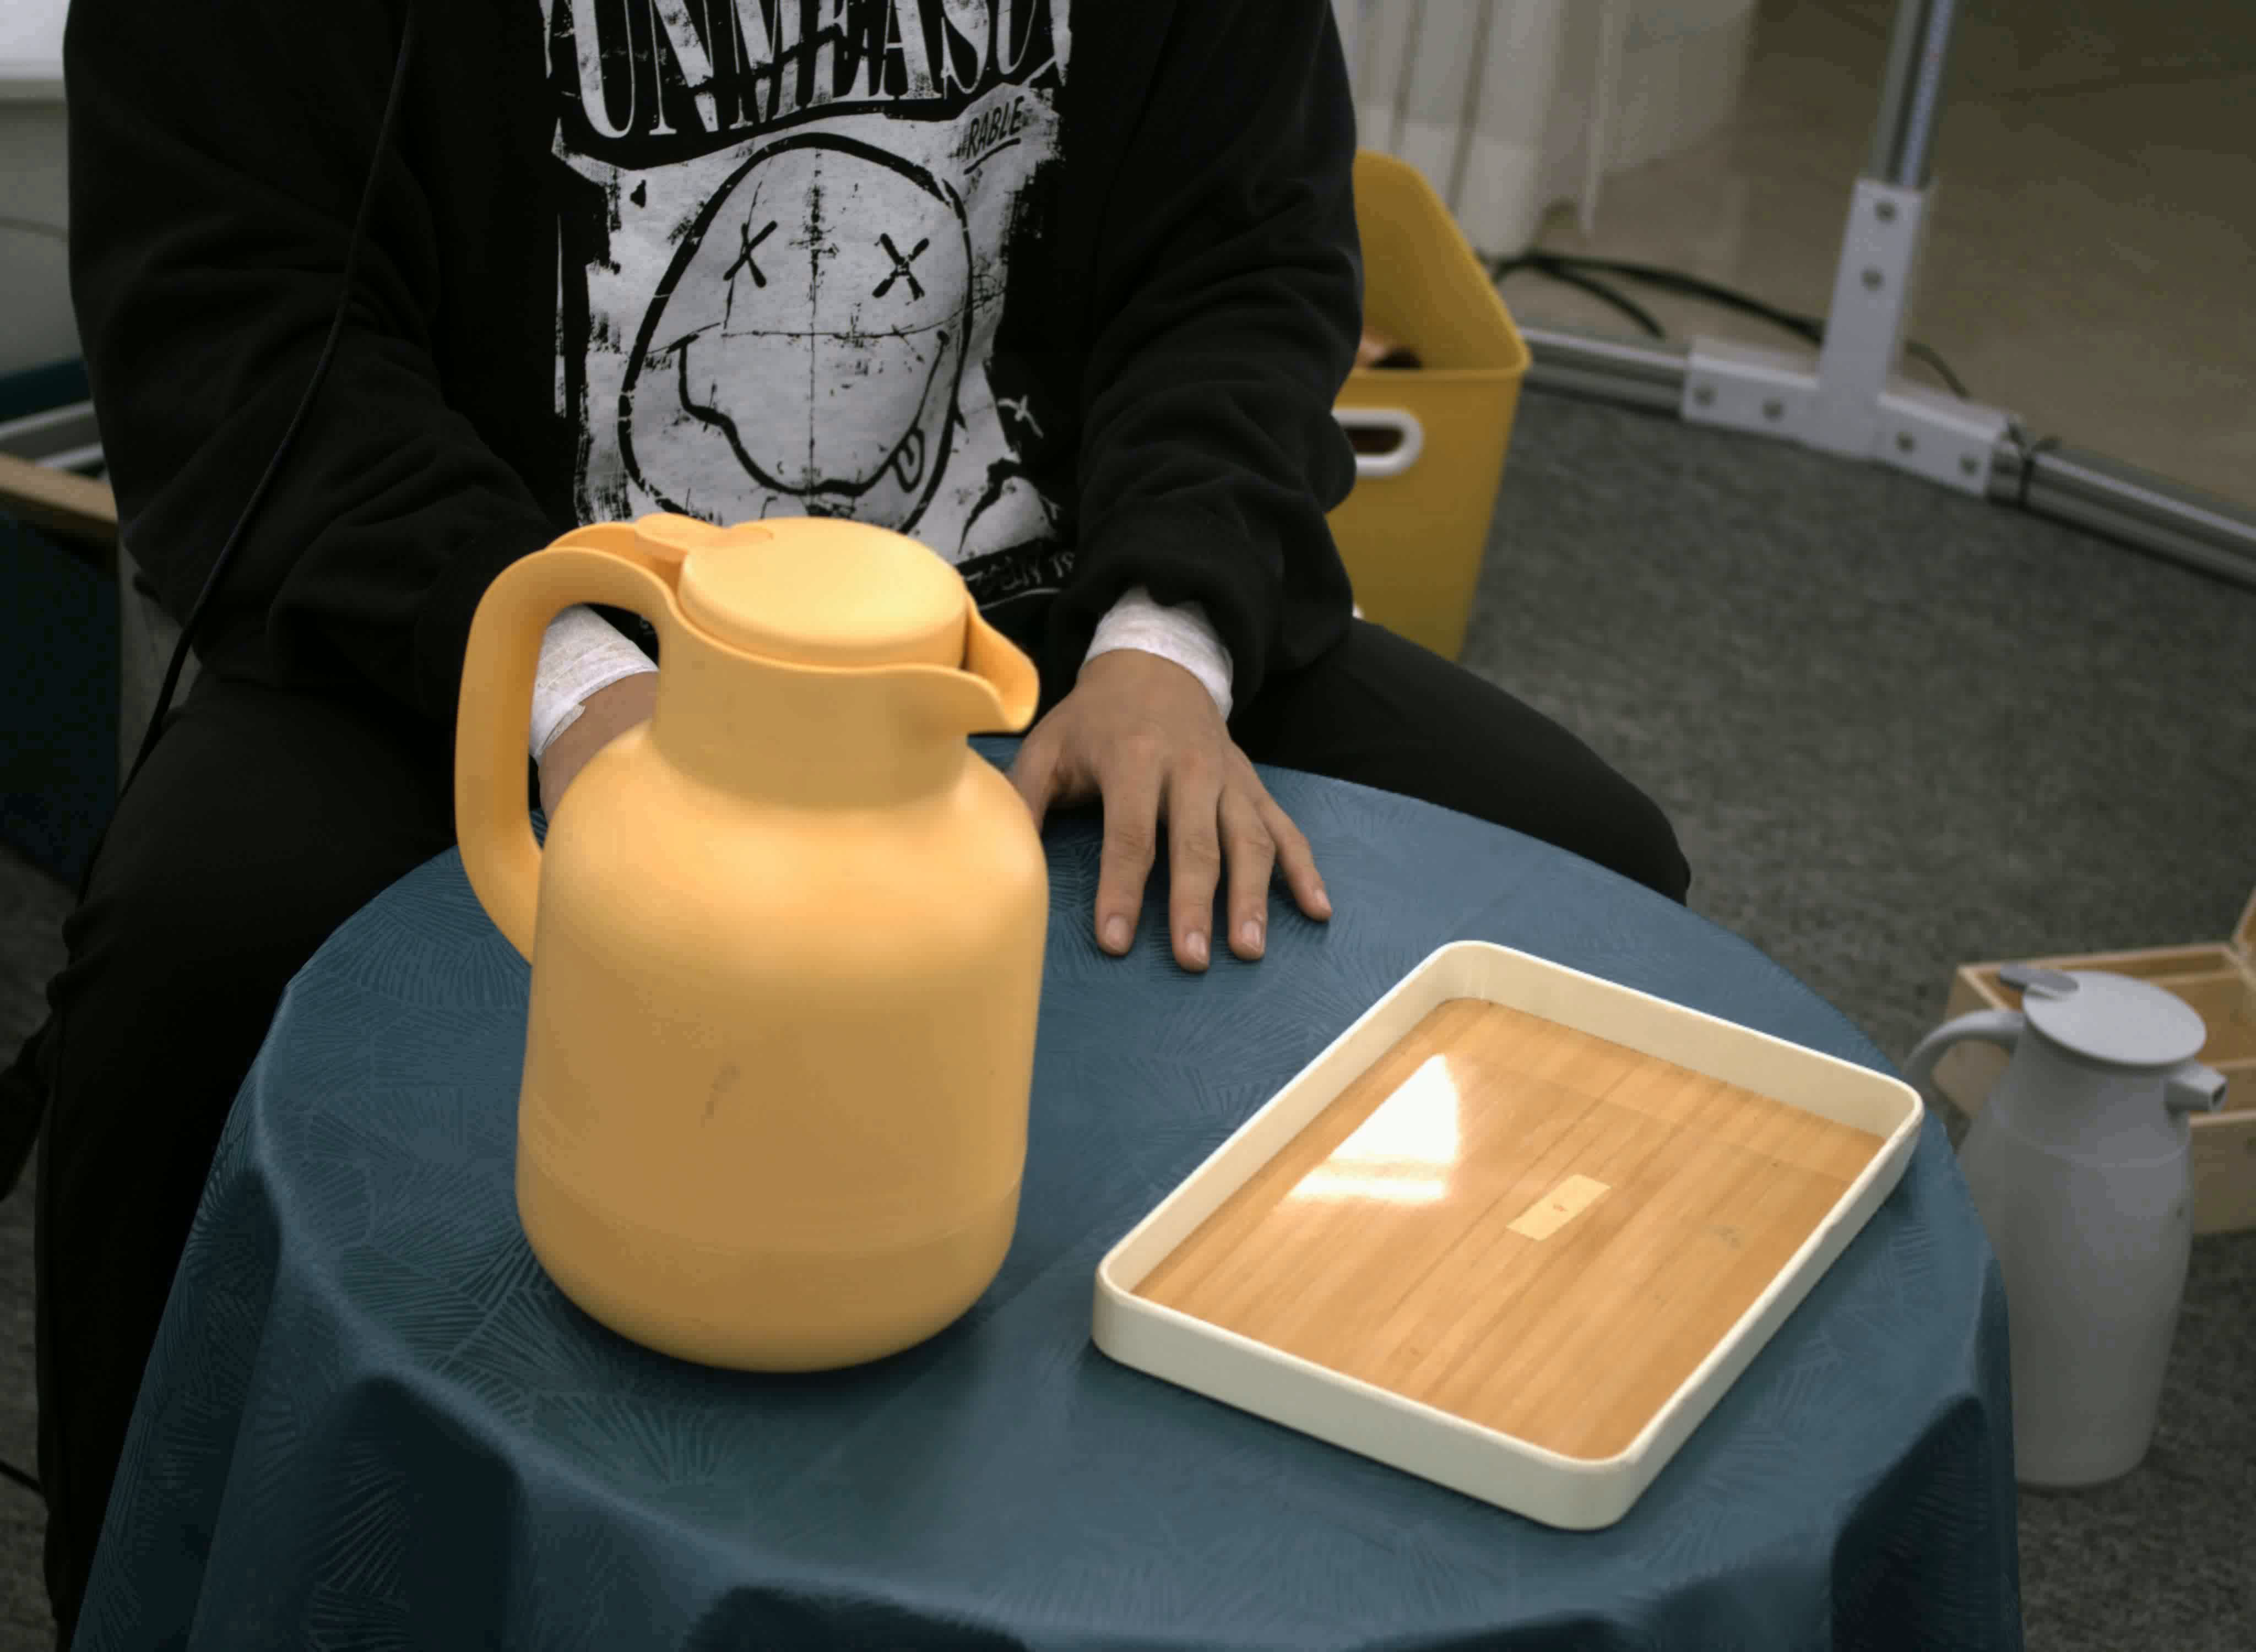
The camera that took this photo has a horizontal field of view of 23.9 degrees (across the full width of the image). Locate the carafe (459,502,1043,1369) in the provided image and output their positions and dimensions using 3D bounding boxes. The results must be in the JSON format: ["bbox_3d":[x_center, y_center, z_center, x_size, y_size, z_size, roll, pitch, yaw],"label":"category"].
[{"bbox_3d":[-0.124,0.024,1.685,0.203,0.260,0.163,22,28,24],"label":"carafe"}]

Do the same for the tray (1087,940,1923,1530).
[{"bbox_3d":[0.132,0.131,1.792,0.192,0.027,0.300,19,29,22],"label":"tray"}]
